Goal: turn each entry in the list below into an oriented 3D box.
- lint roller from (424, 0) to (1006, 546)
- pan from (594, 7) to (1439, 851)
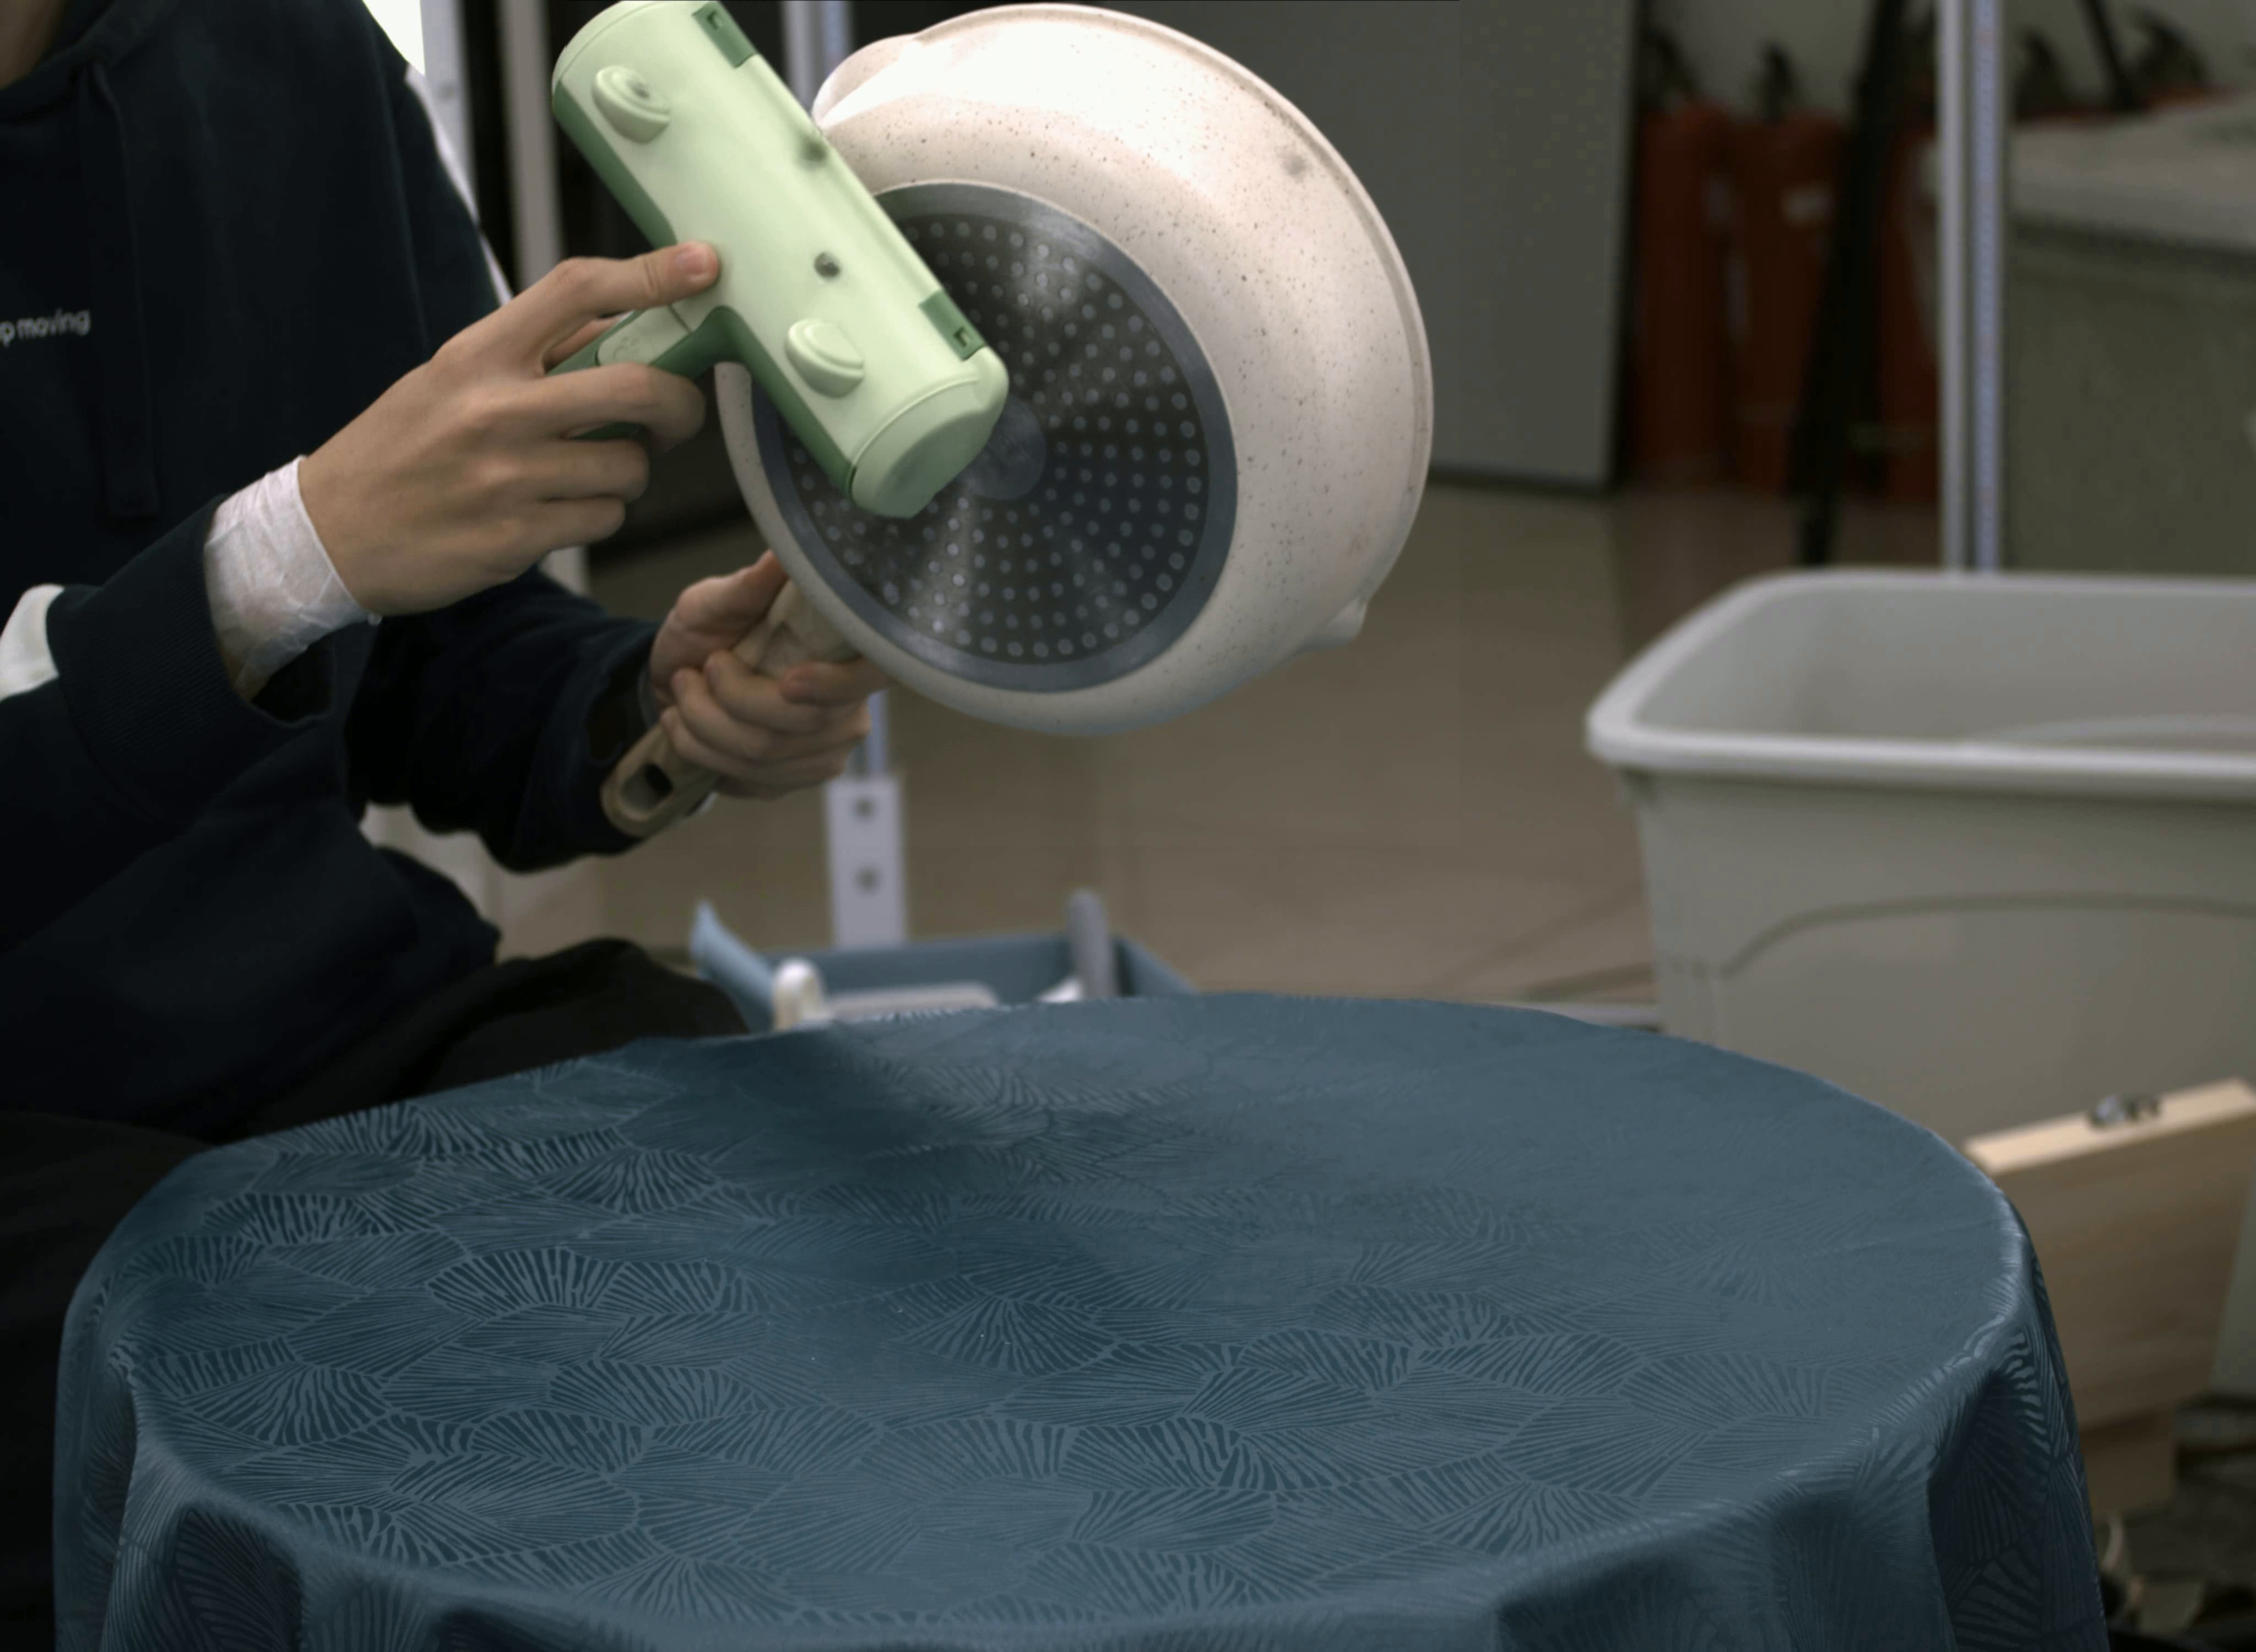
[{"bbox_3d":[-0.161,-0.160,1.744,0.182,0.201,0.081,-37,-22,-1],"label":"lint roller"},{"bbox_3d":[-0.077,-0.093,1.871,0.439,0.263,0.101,-42,2,38],"label":"pan"}]
